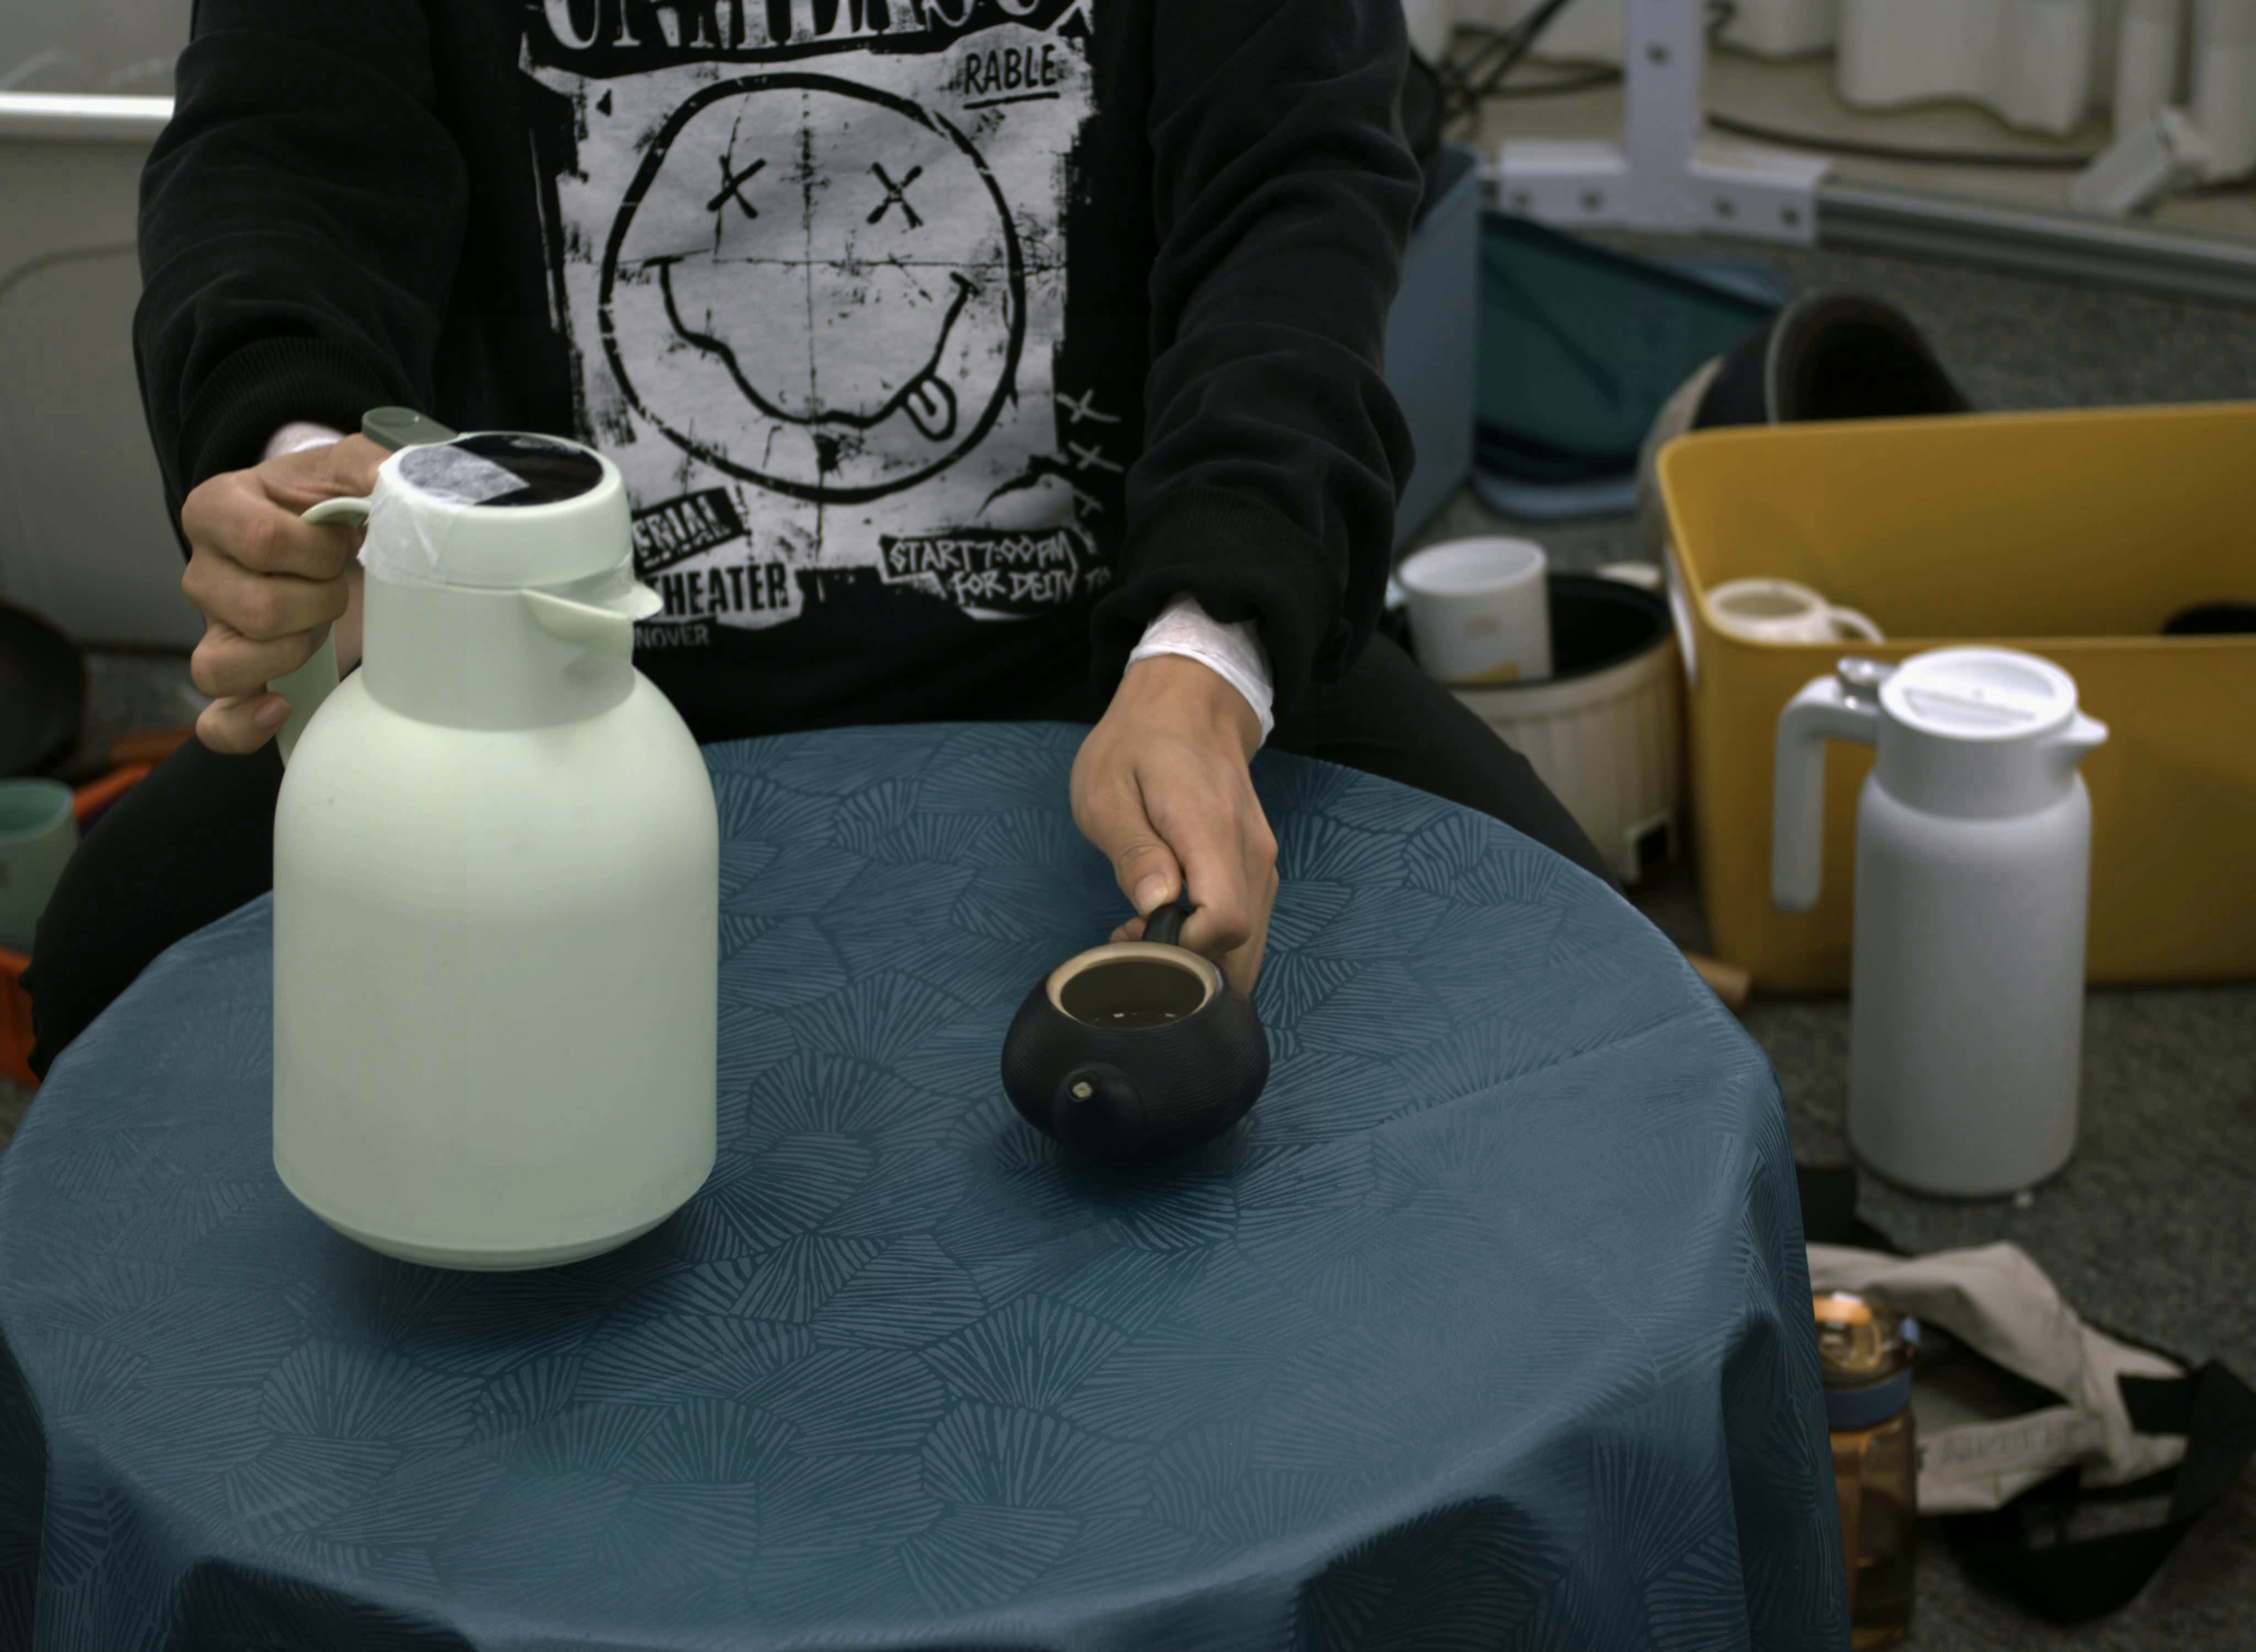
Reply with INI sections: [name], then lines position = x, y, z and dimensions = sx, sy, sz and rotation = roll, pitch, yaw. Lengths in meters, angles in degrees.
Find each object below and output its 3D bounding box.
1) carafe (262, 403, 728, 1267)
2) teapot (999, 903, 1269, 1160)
[carafe]
position = -0.209, -0.003, 1.801
dimensions = 0.146, 0.255, 0.186
rotation = -19, 27, -41
[teapot]
position = 0.002, 0.075, 1.878
dimensions = 0.090, 0.052, 0.135
rotation = 7, 30, 13
